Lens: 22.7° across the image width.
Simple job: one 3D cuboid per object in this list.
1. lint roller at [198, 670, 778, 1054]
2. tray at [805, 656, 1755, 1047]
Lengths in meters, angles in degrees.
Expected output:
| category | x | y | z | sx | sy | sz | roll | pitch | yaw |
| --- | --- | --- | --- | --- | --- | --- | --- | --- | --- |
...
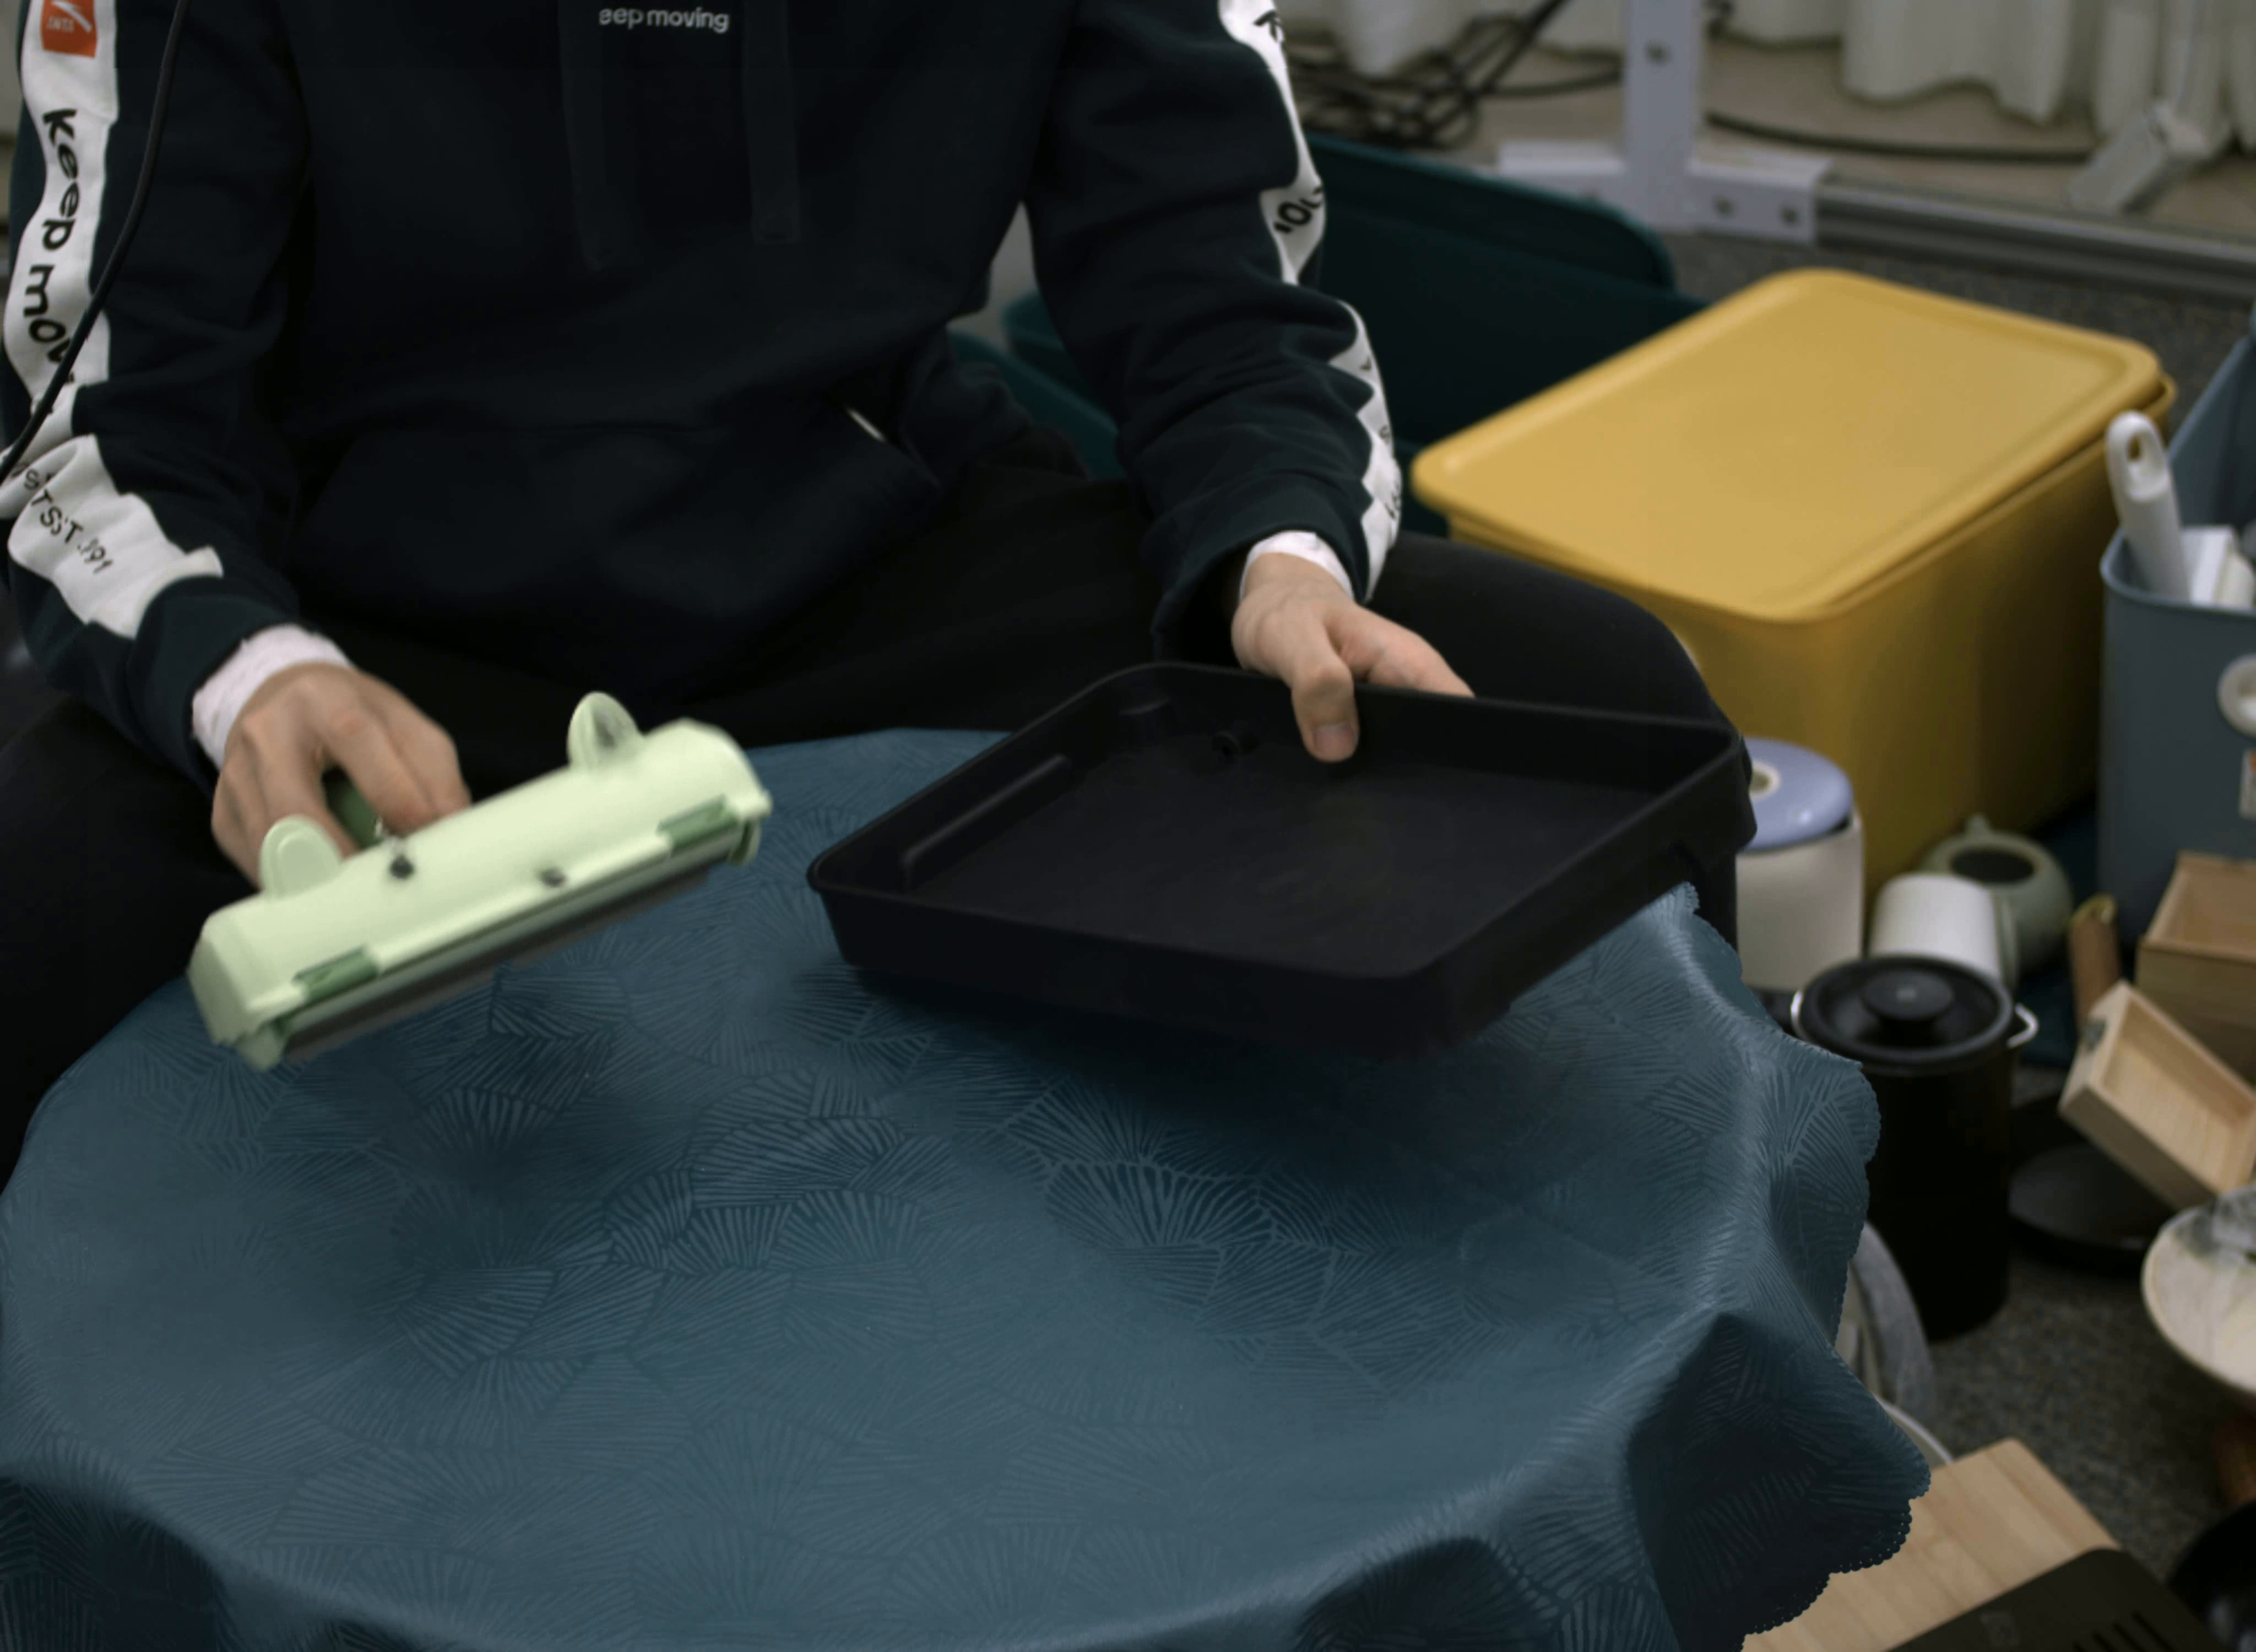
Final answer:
| category | x | y | z | sx | sy | sz | roll | pitch | yaw |
| --- | --- | --- | --- | --- | --- | --- | --- | --- | --- |
| lint roller | -0.243 | -0.010 | 1.900 | 0.200 | 0.081 | 0.184 | -24 | 34 | -27 |
| tray | 0.048 | 0.004 | 1.928 | 0.187 | 0.037 | 0.316 | -32 | 25 | -35 |
